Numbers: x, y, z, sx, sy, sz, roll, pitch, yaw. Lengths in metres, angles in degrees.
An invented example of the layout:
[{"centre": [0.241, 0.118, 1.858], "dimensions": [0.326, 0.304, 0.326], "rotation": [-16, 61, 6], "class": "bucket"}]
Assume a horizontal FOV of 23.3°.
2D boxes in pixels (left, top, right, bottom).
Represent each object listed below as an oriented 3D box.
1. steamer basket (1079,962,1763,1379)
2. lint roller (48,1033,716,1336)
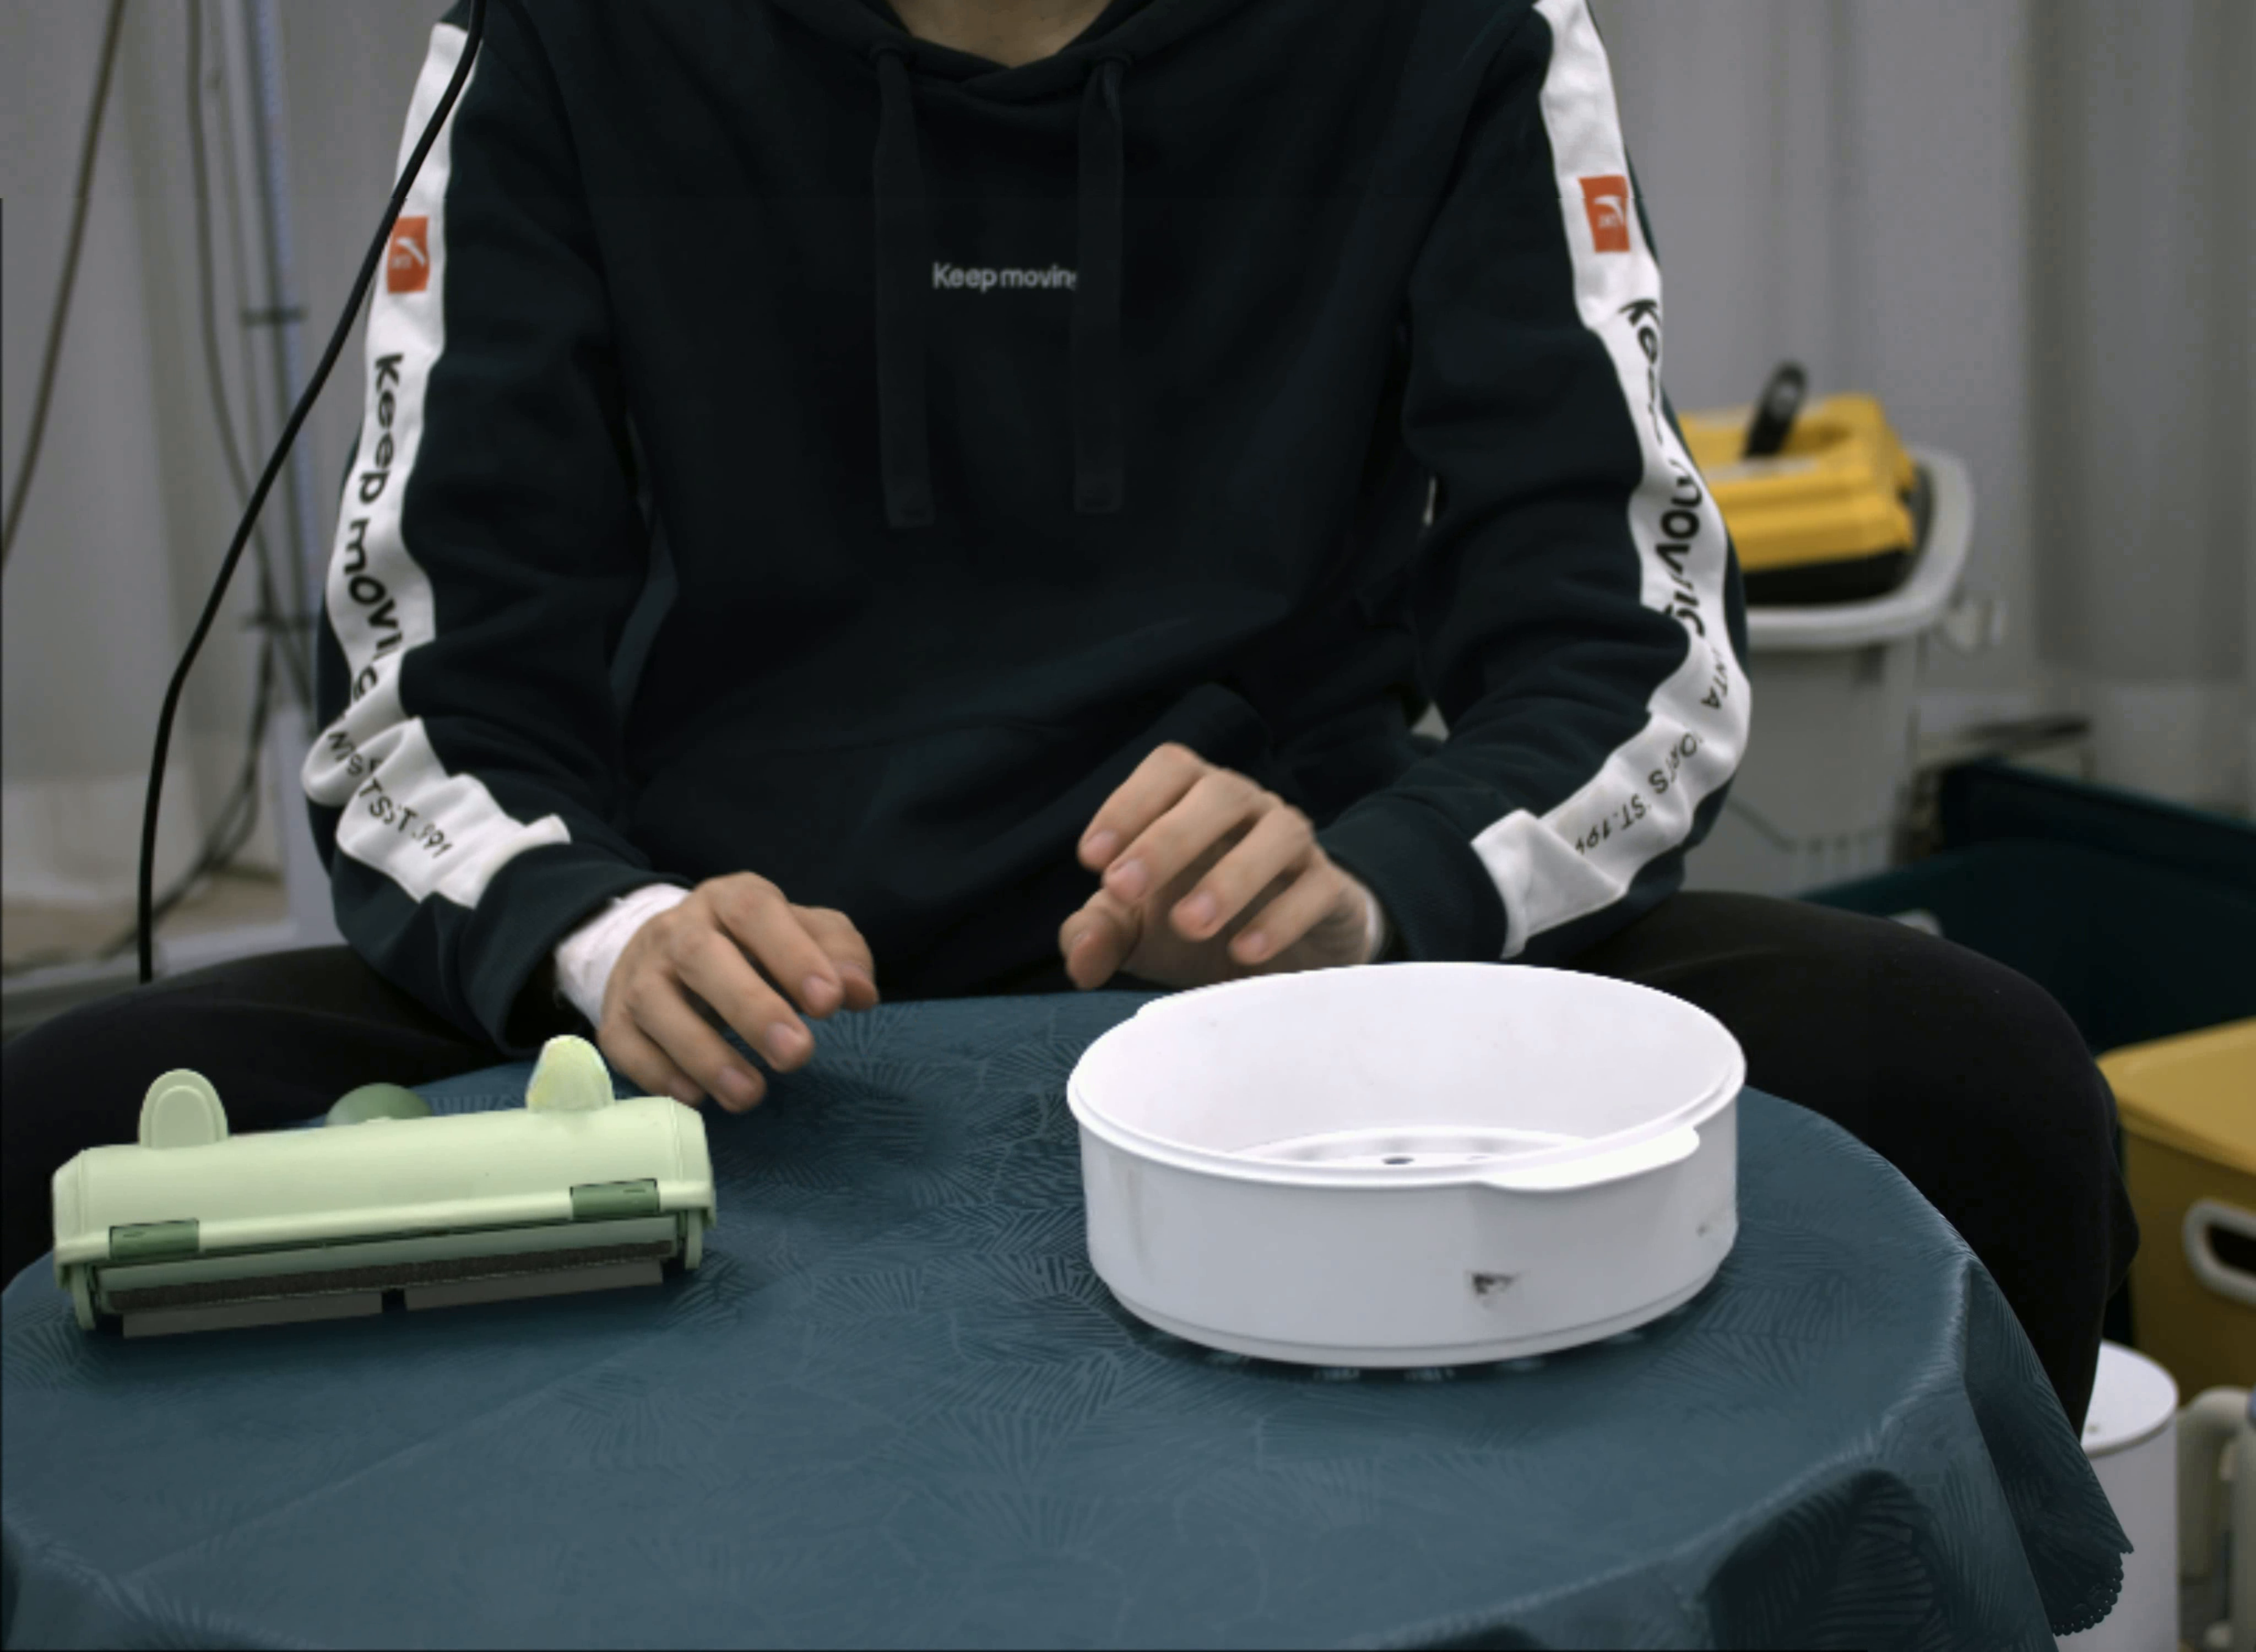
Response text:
[{"centre": [0.087, 0.102, 1.615], "dimensions": [0.201, 0.069, 0.232], "rotation": [-12, 19, -29], "class": "steamer basket"}, {"centre": [-0.232, 0.092, 1.696], "dimensions": [0.198, 0.082, 0.185], "rotation": [-5, 19, -7], "class": "lint roller"}]
